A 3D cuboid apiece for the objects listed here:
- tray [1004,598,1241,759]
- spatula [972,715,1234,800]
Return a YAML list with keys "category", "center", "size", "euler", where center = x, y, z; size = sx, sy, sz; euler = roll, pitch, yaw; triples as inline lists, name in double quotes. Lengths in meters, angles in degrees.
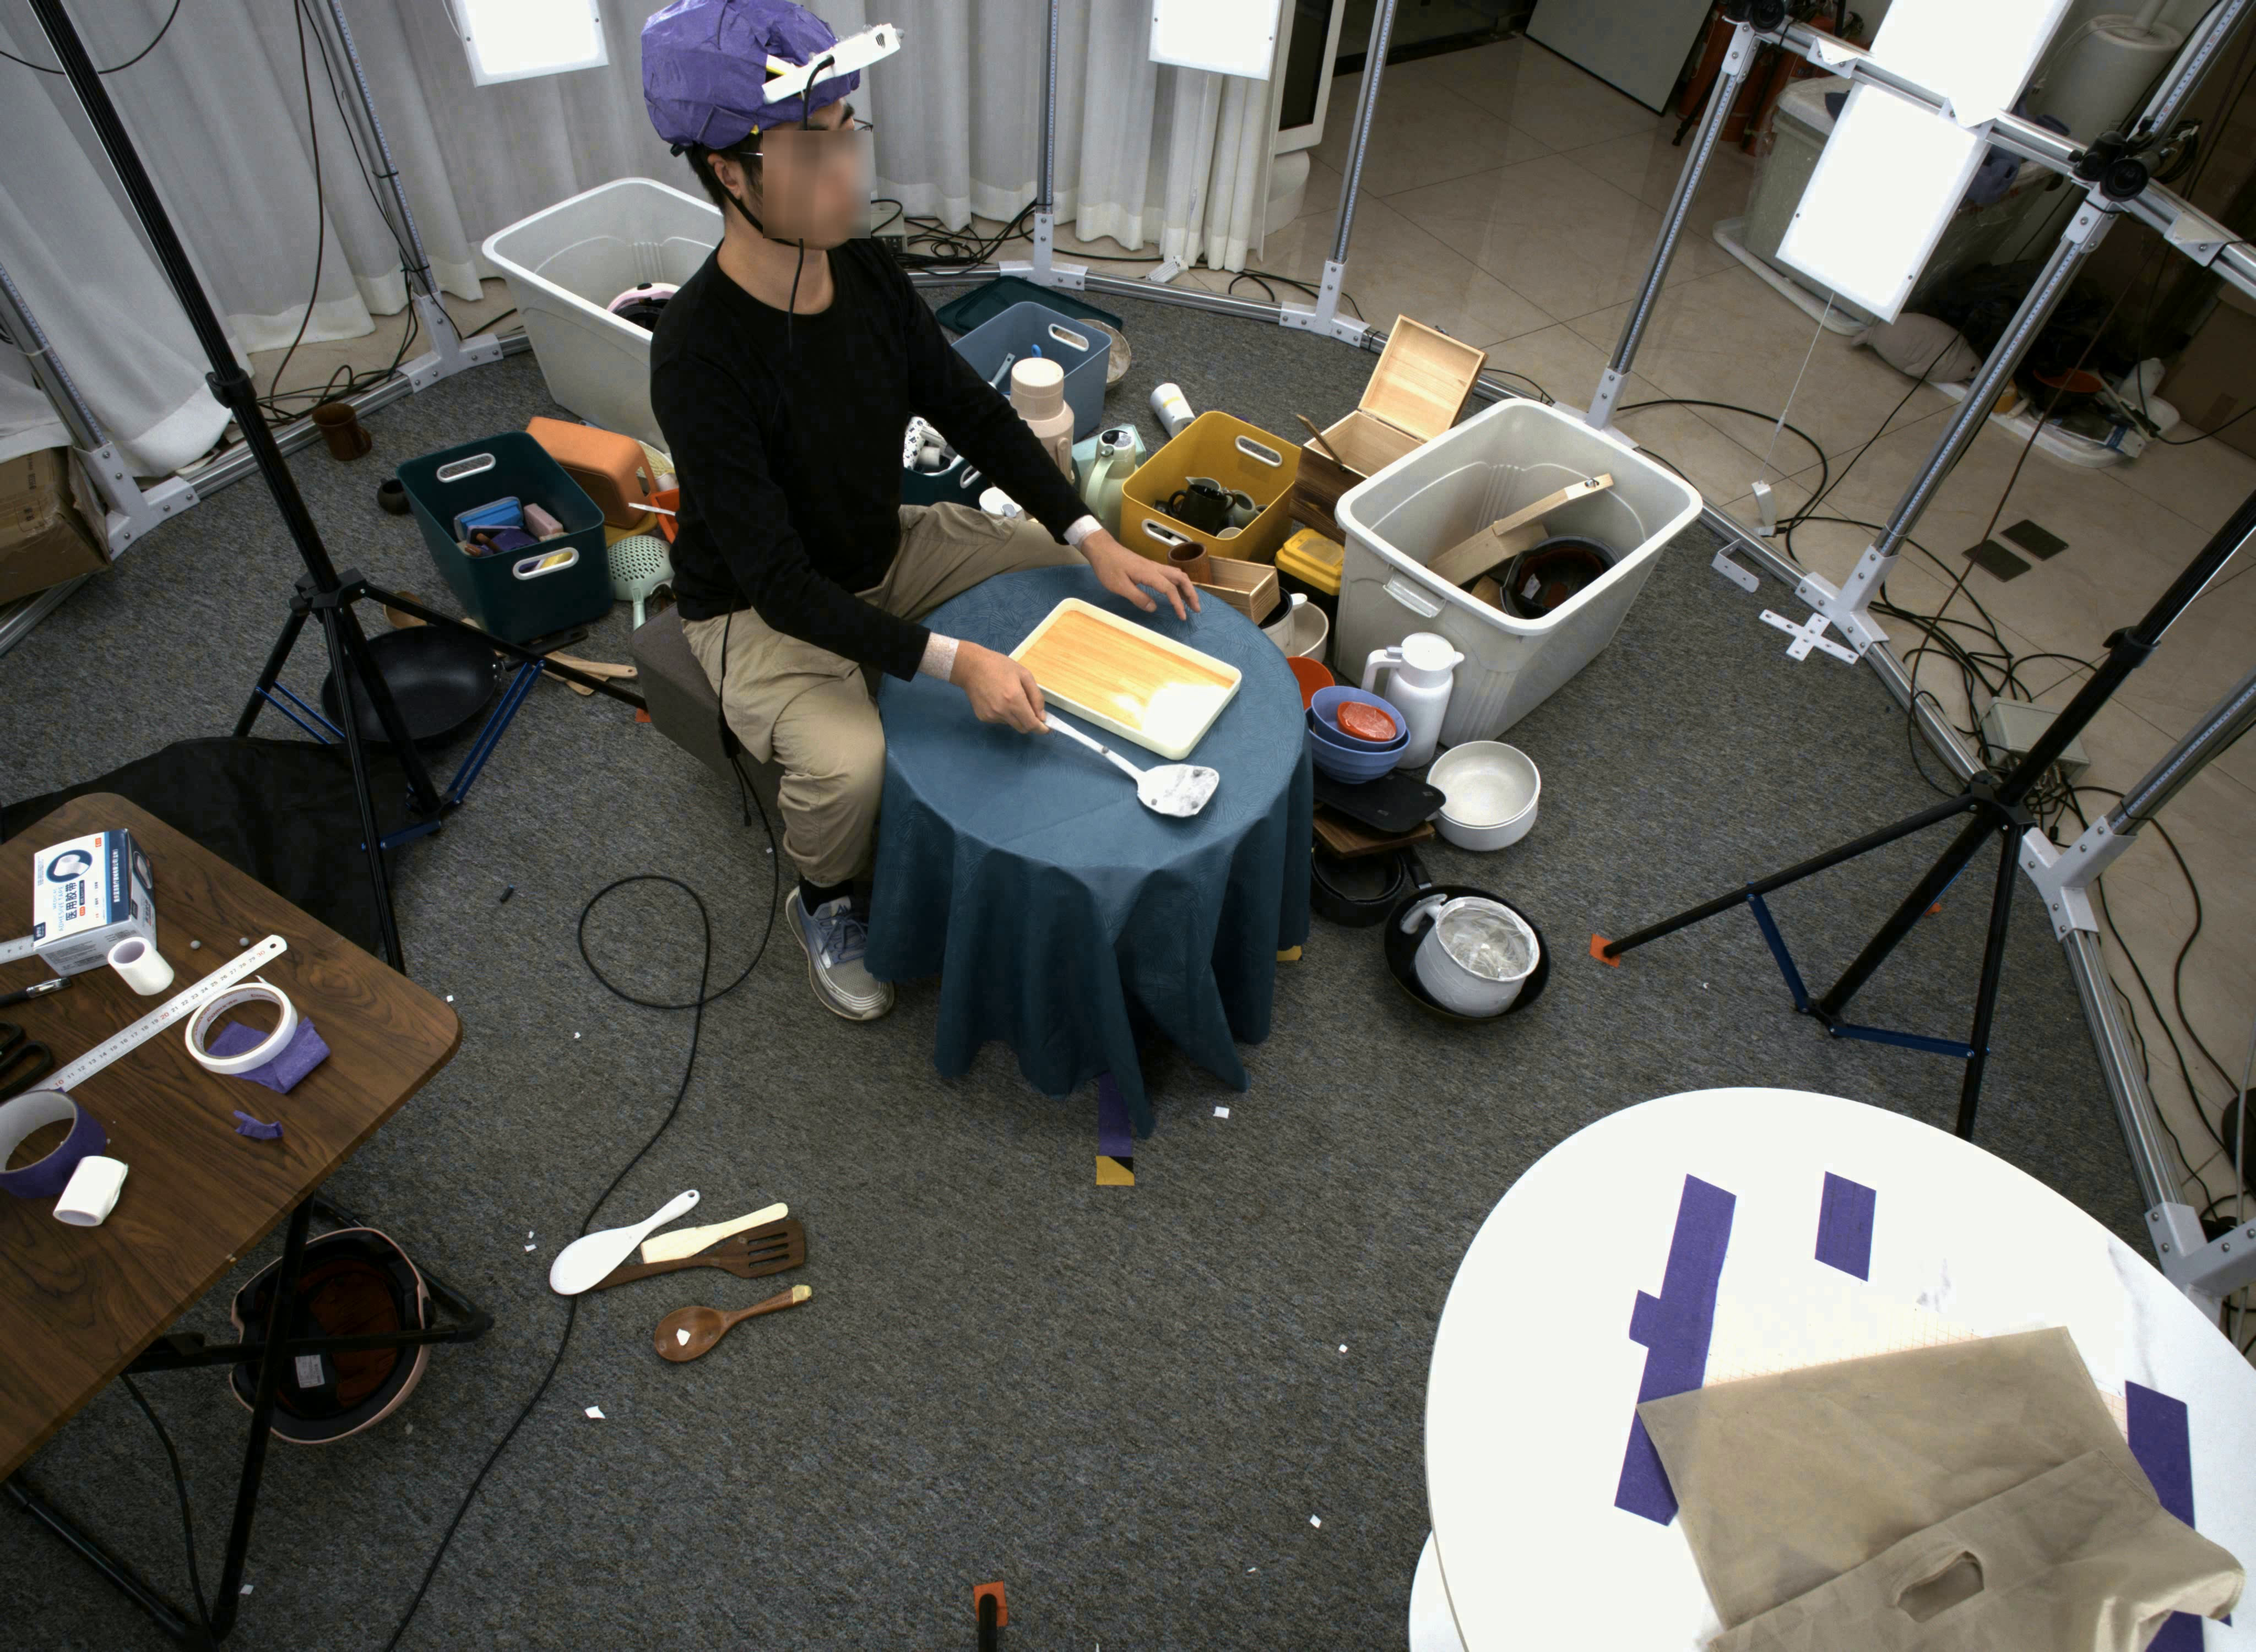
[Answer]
- category: "tray"
  center: [-0.008, -0.216, 1.839]
  size: [0.303, 0.027, 0.194]
  euler: [26, 52, 18]
- category: "spatula"
  center: [-0.039, -0.100, 1.712]
  size: [0.366, 0.044, 0.100]
  euler: [20, 32, 6]
